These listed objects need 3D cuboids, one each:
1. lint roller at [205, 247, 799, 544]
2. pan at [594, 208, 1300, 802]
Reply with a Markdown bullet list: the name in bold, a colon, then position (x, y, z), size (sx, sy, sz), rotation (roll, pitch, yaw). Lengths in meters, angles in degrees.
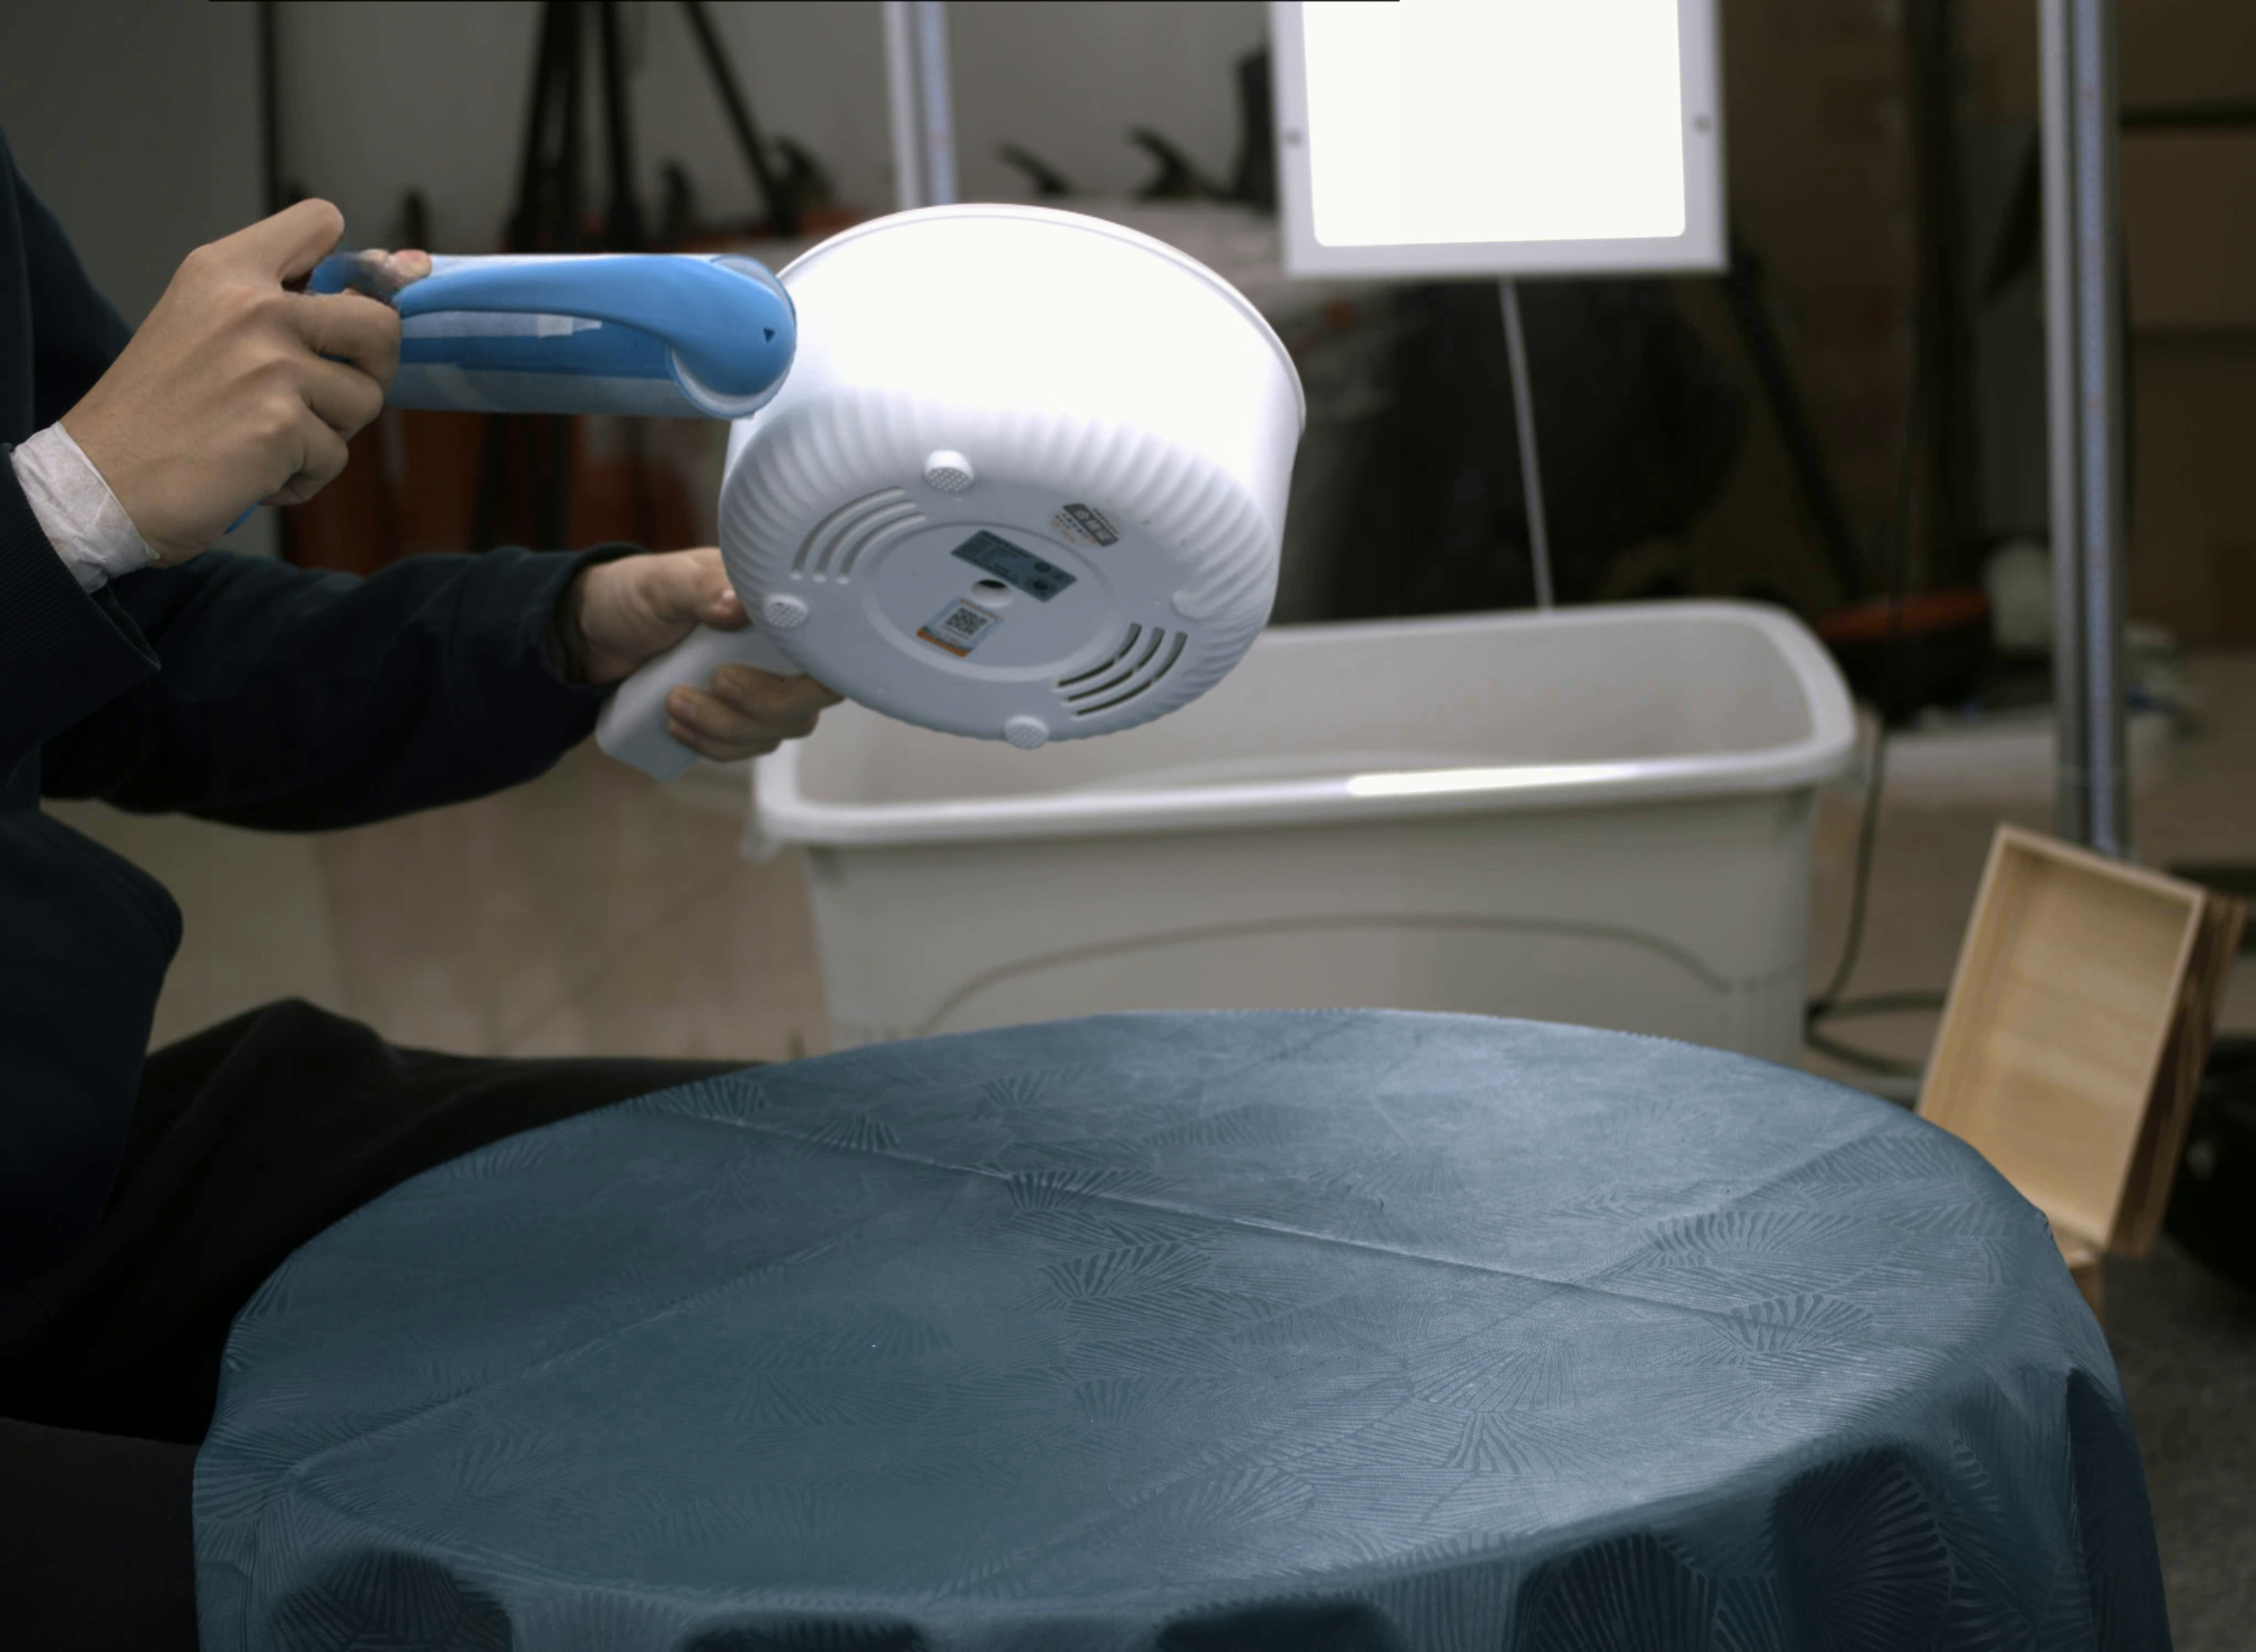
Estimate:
- **lint roller**: position (-0.232, -0.150, 1.820), size (0.176, 0.068, 0.234), rotation (-24, 20, -38)
- **pan**: position (-0.087, -0.077, 1.950), size (0.198, 0.101, 0.362), rotation (25, -39, -26)
